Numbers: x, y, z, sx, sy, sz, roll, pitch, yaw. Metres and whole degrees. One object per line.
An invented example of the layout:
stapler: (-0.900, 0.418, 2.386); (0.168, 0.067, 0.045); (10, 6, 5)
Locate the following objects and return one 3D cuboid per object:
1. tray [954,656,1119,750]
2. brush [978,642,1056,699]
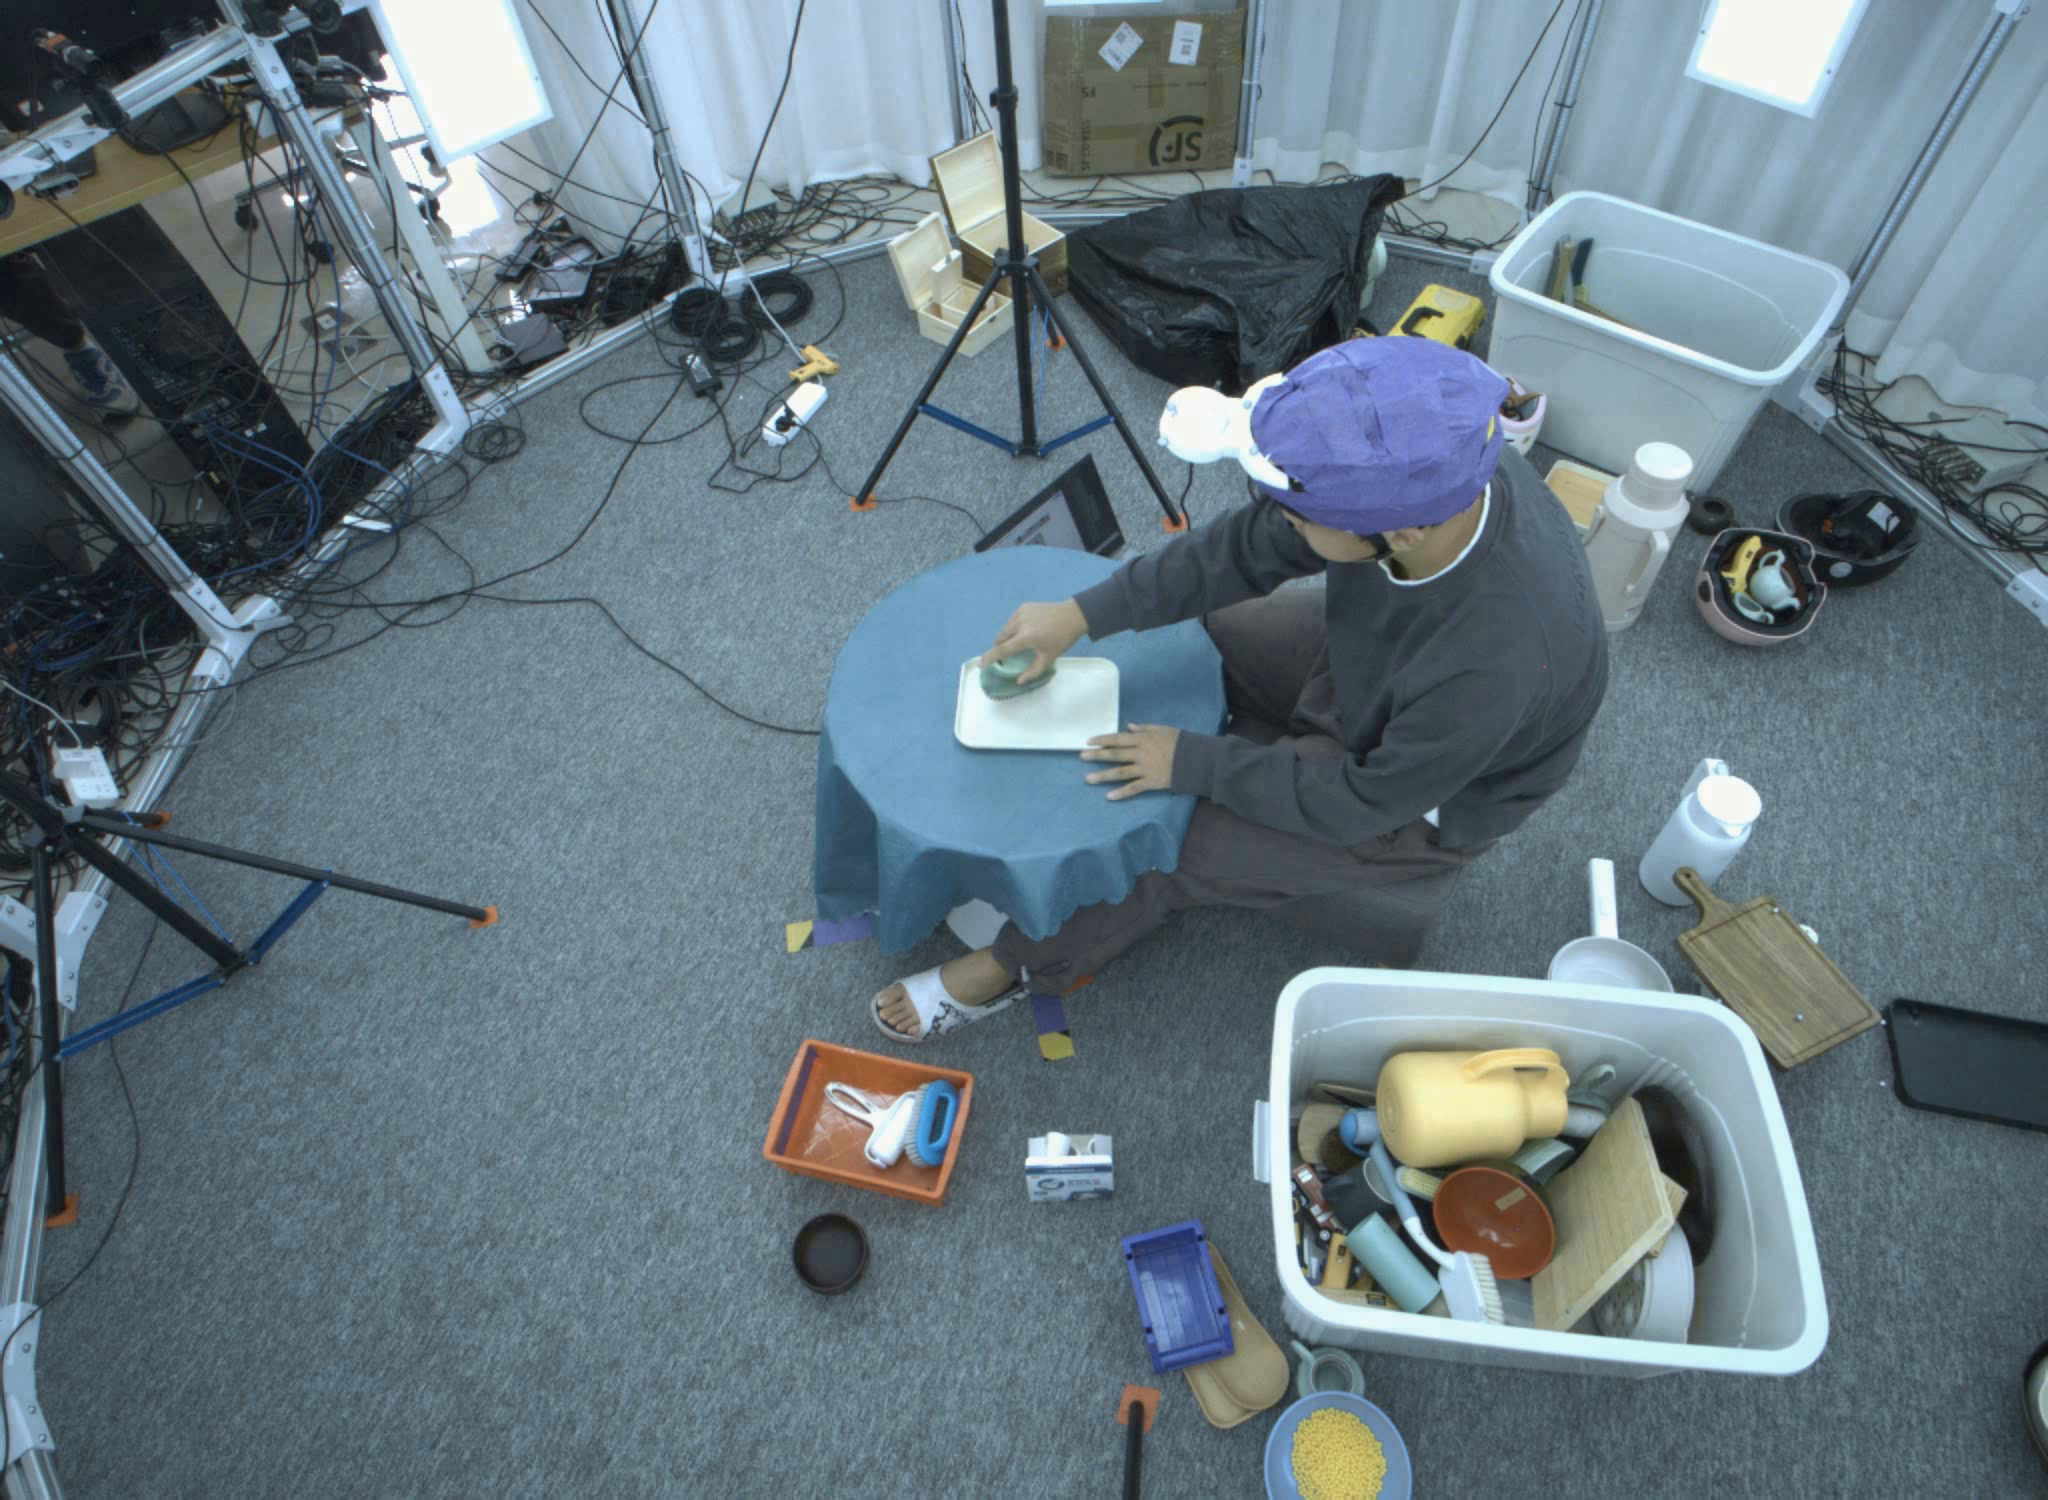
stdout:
tray: (0.020, -0.070, 1.825); (0.239, 0.017, 0.170); (2, 56, 2)
brush: (-0.011, -0.117, 1.798); (0.125, 0.075, 0.059); (-15, 65, -34)
